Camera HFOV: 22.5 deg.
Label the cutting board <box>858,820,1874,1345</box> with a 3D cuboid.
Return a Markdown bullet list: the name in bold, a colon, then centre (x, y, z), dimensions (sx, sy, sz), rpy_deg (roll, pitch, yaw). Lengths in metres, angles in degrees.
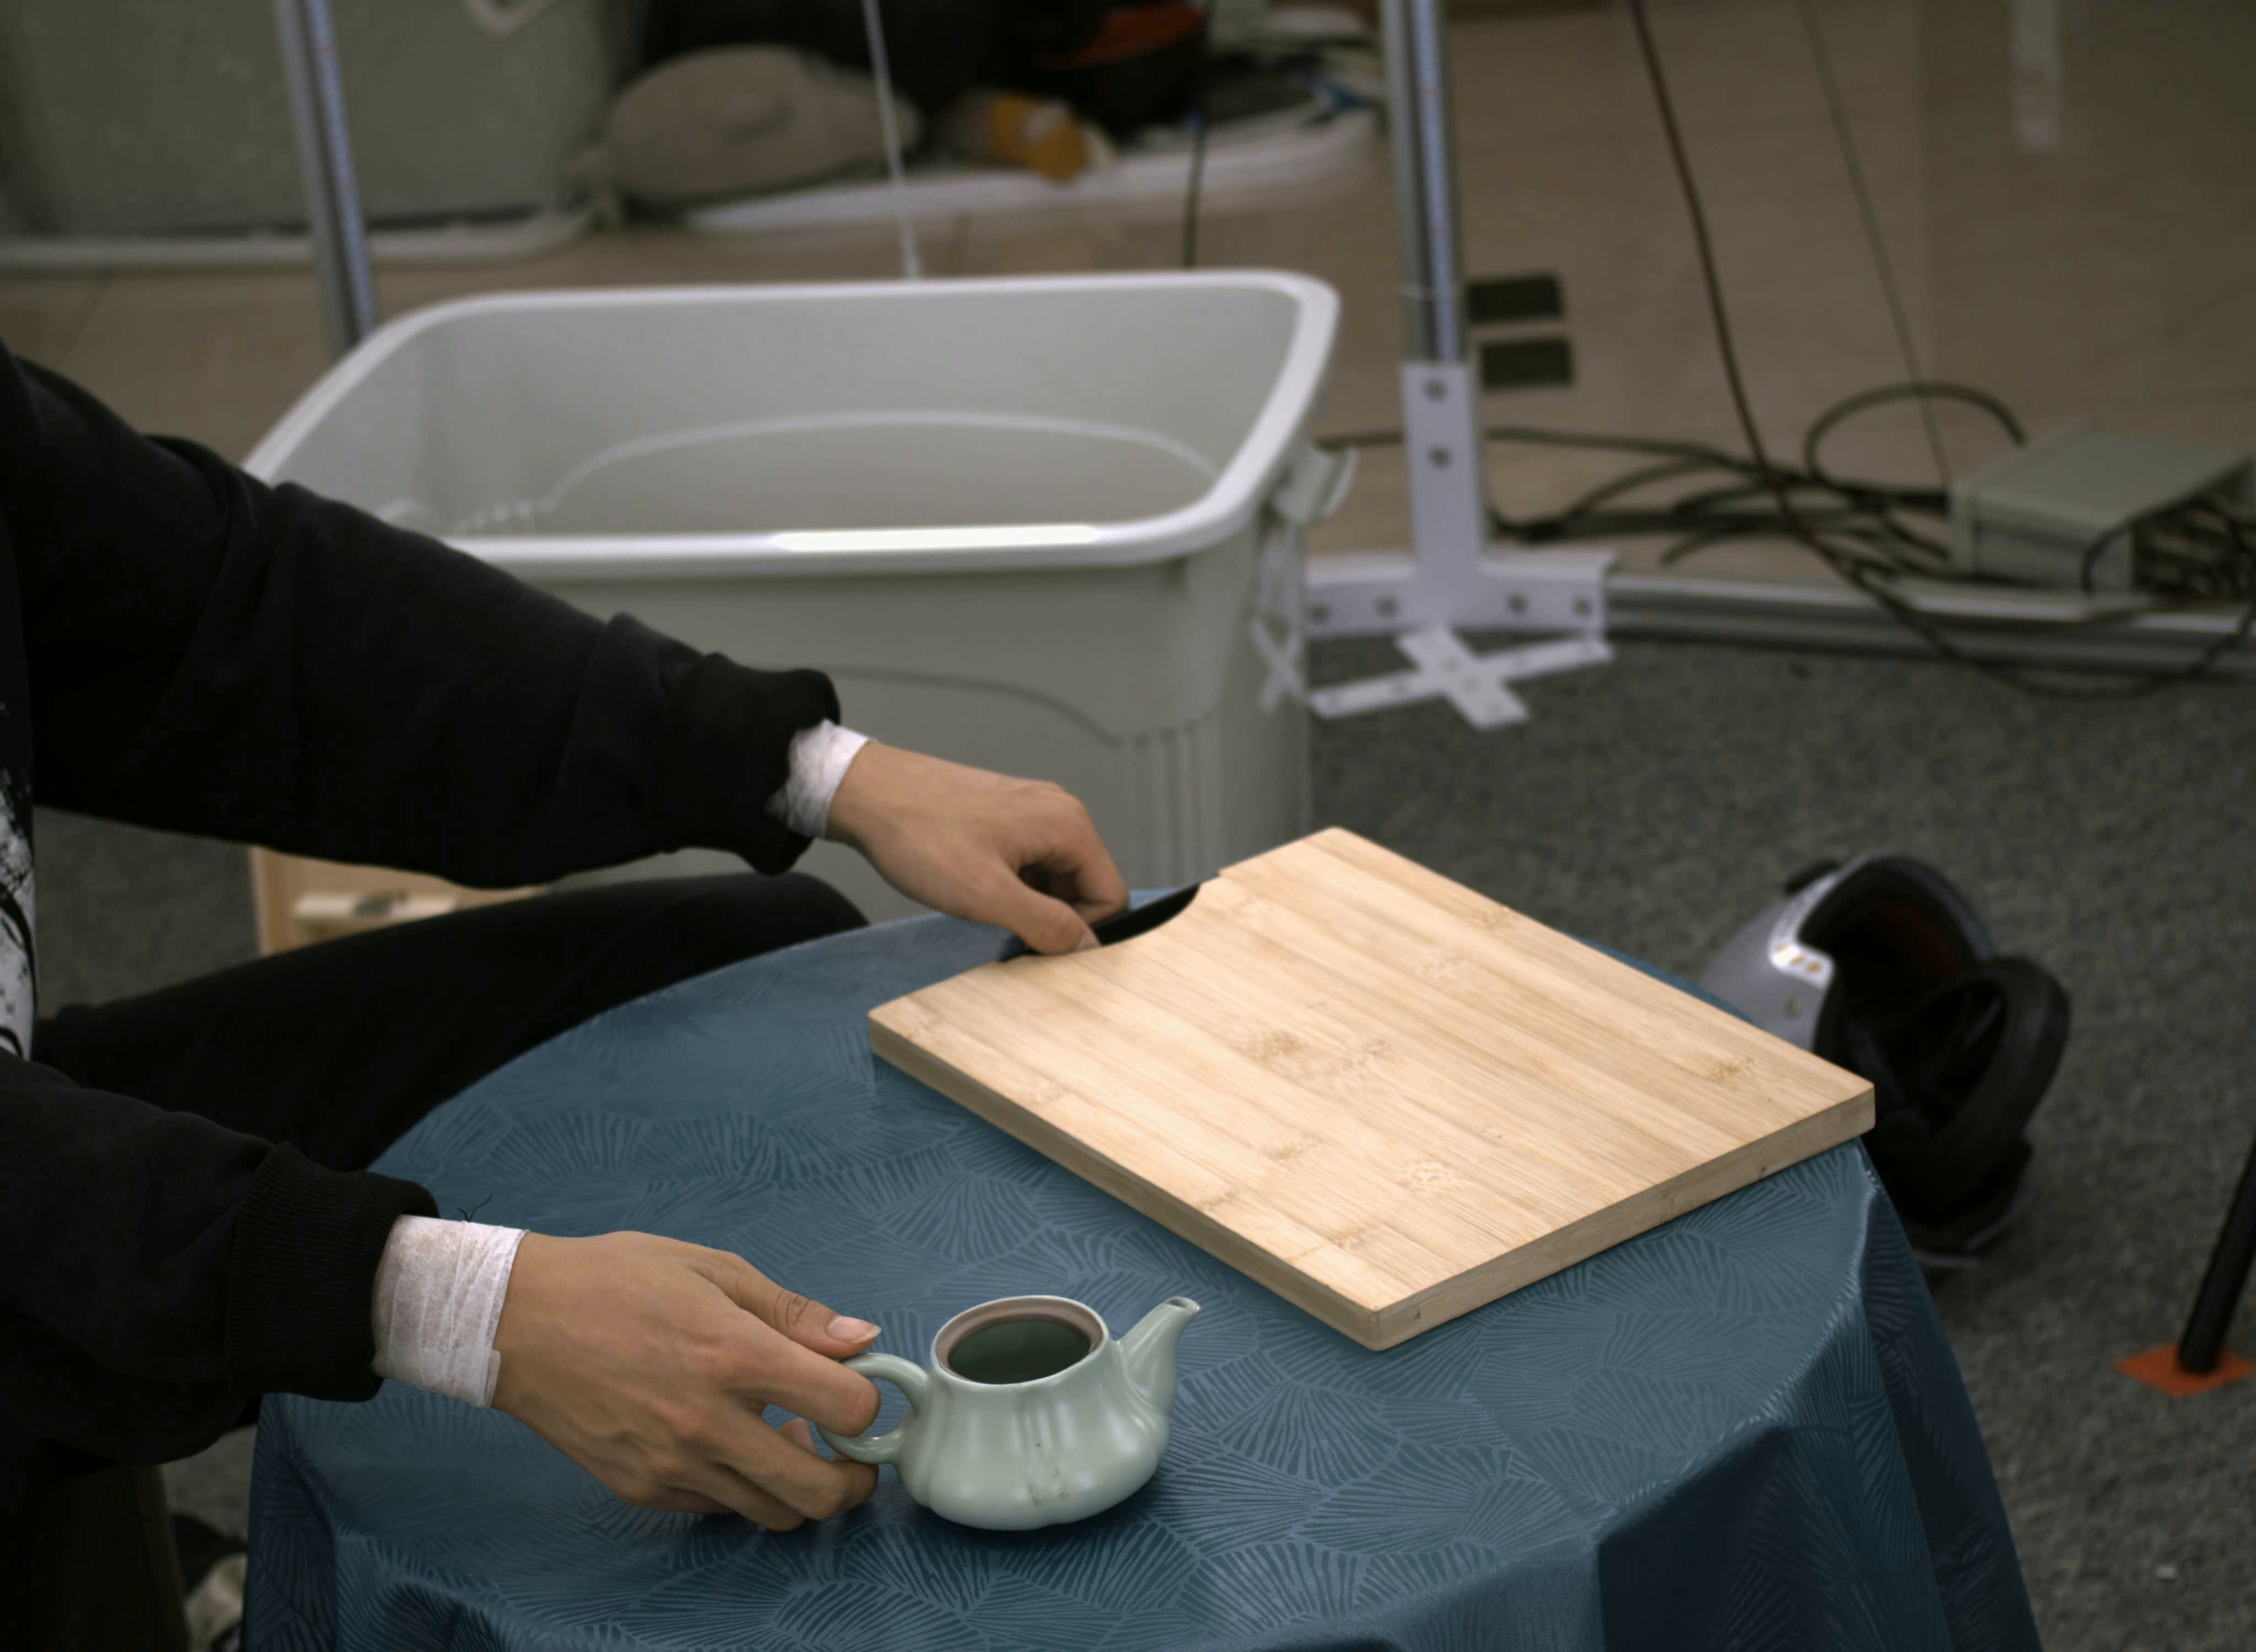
- **cutting board**: centre (0.086, 0.093, 2.208), dimensions (0.249, 0.024, 0.345), rpy_deg (-22, 29, -30)

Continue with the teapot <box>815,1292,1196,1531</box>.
- **teapot**: centre (-0.040, 0.201, 1.955), dimensions (0.136, 0.062, 0.095), rpy_deg (-10, 27, -9)
